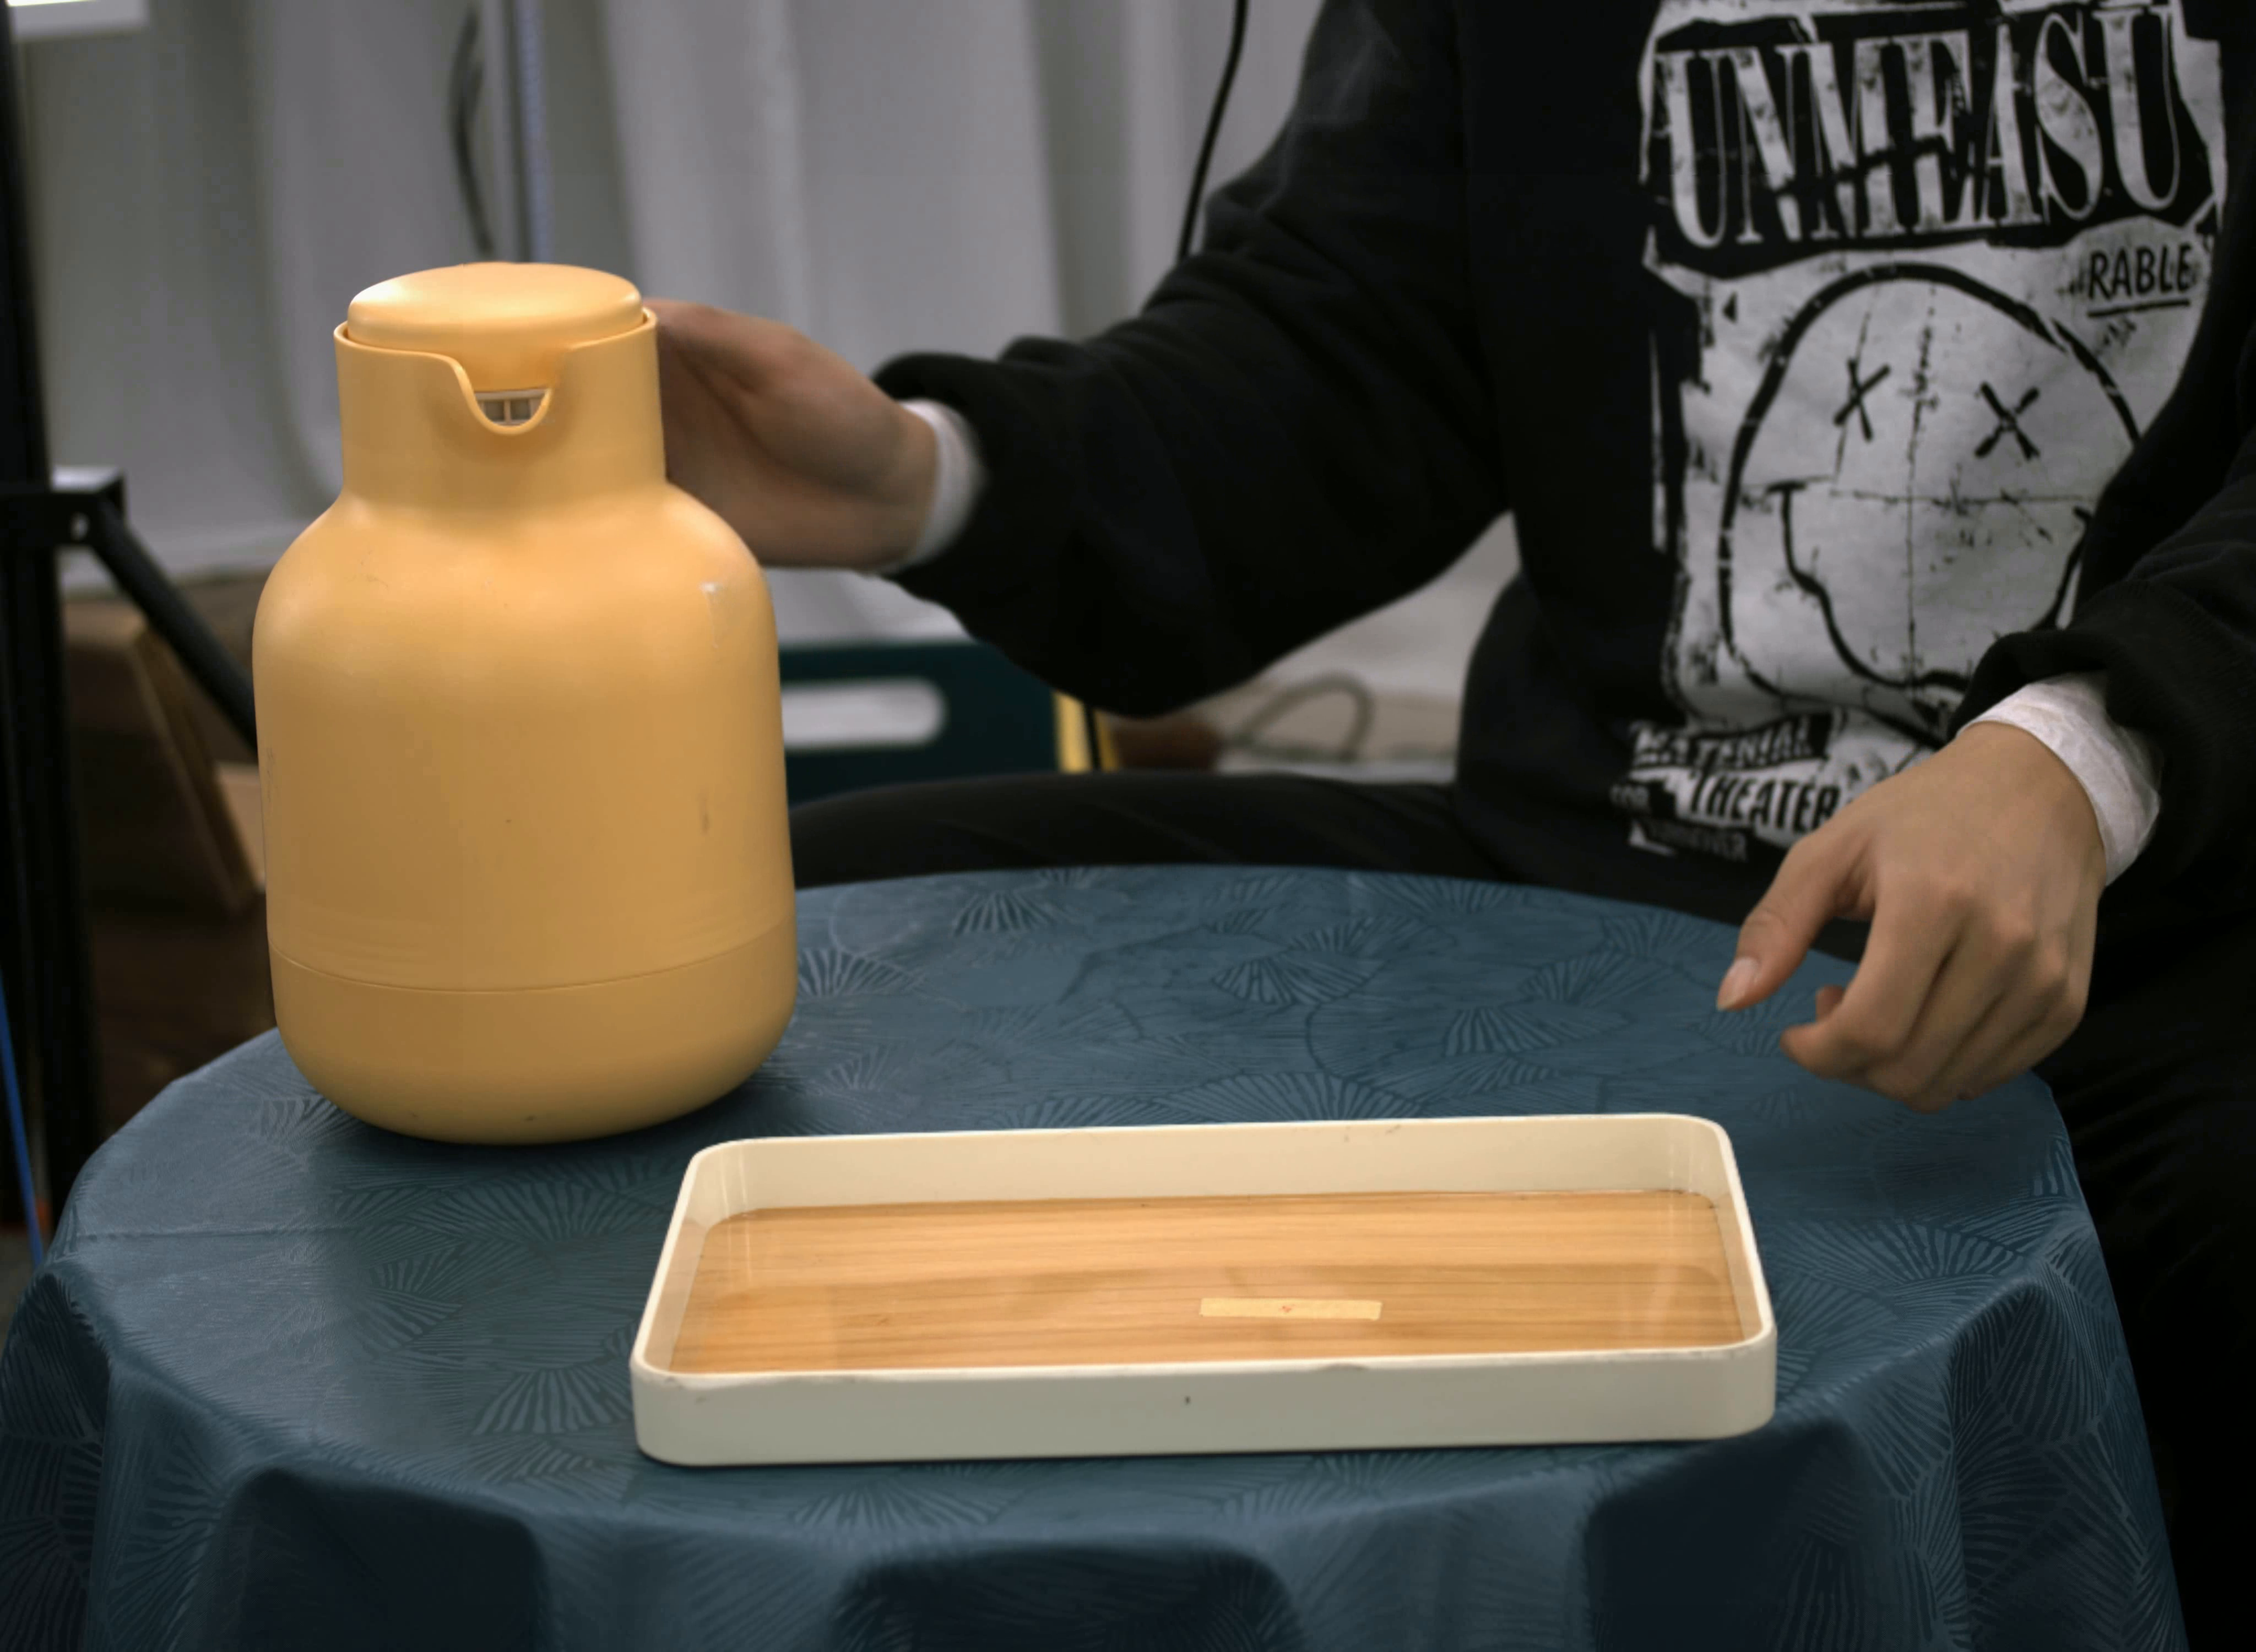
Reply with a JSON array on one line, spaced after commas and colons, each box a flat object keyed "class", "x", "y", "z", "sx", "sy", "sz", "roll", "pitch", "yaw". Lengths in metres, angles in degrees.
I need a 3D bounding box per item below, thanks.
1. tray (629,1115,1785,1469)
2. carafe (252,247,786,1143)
[{"class": "tray", "x": 0.022, "y": 0.125, "z": 1.442, "sx": 0.300, "sy": 0.027, "sz": 0.192, "roll": -2, "pitch": 16, "yaw": 4}, {"class": "carafe", "x": -0.189, "y": -0.048, "z": 1.660, "sx": 0.162, "sy": 0.260, "sz": 0.204, "roll": -1, "pitch": 16, "yaw": -6}]
